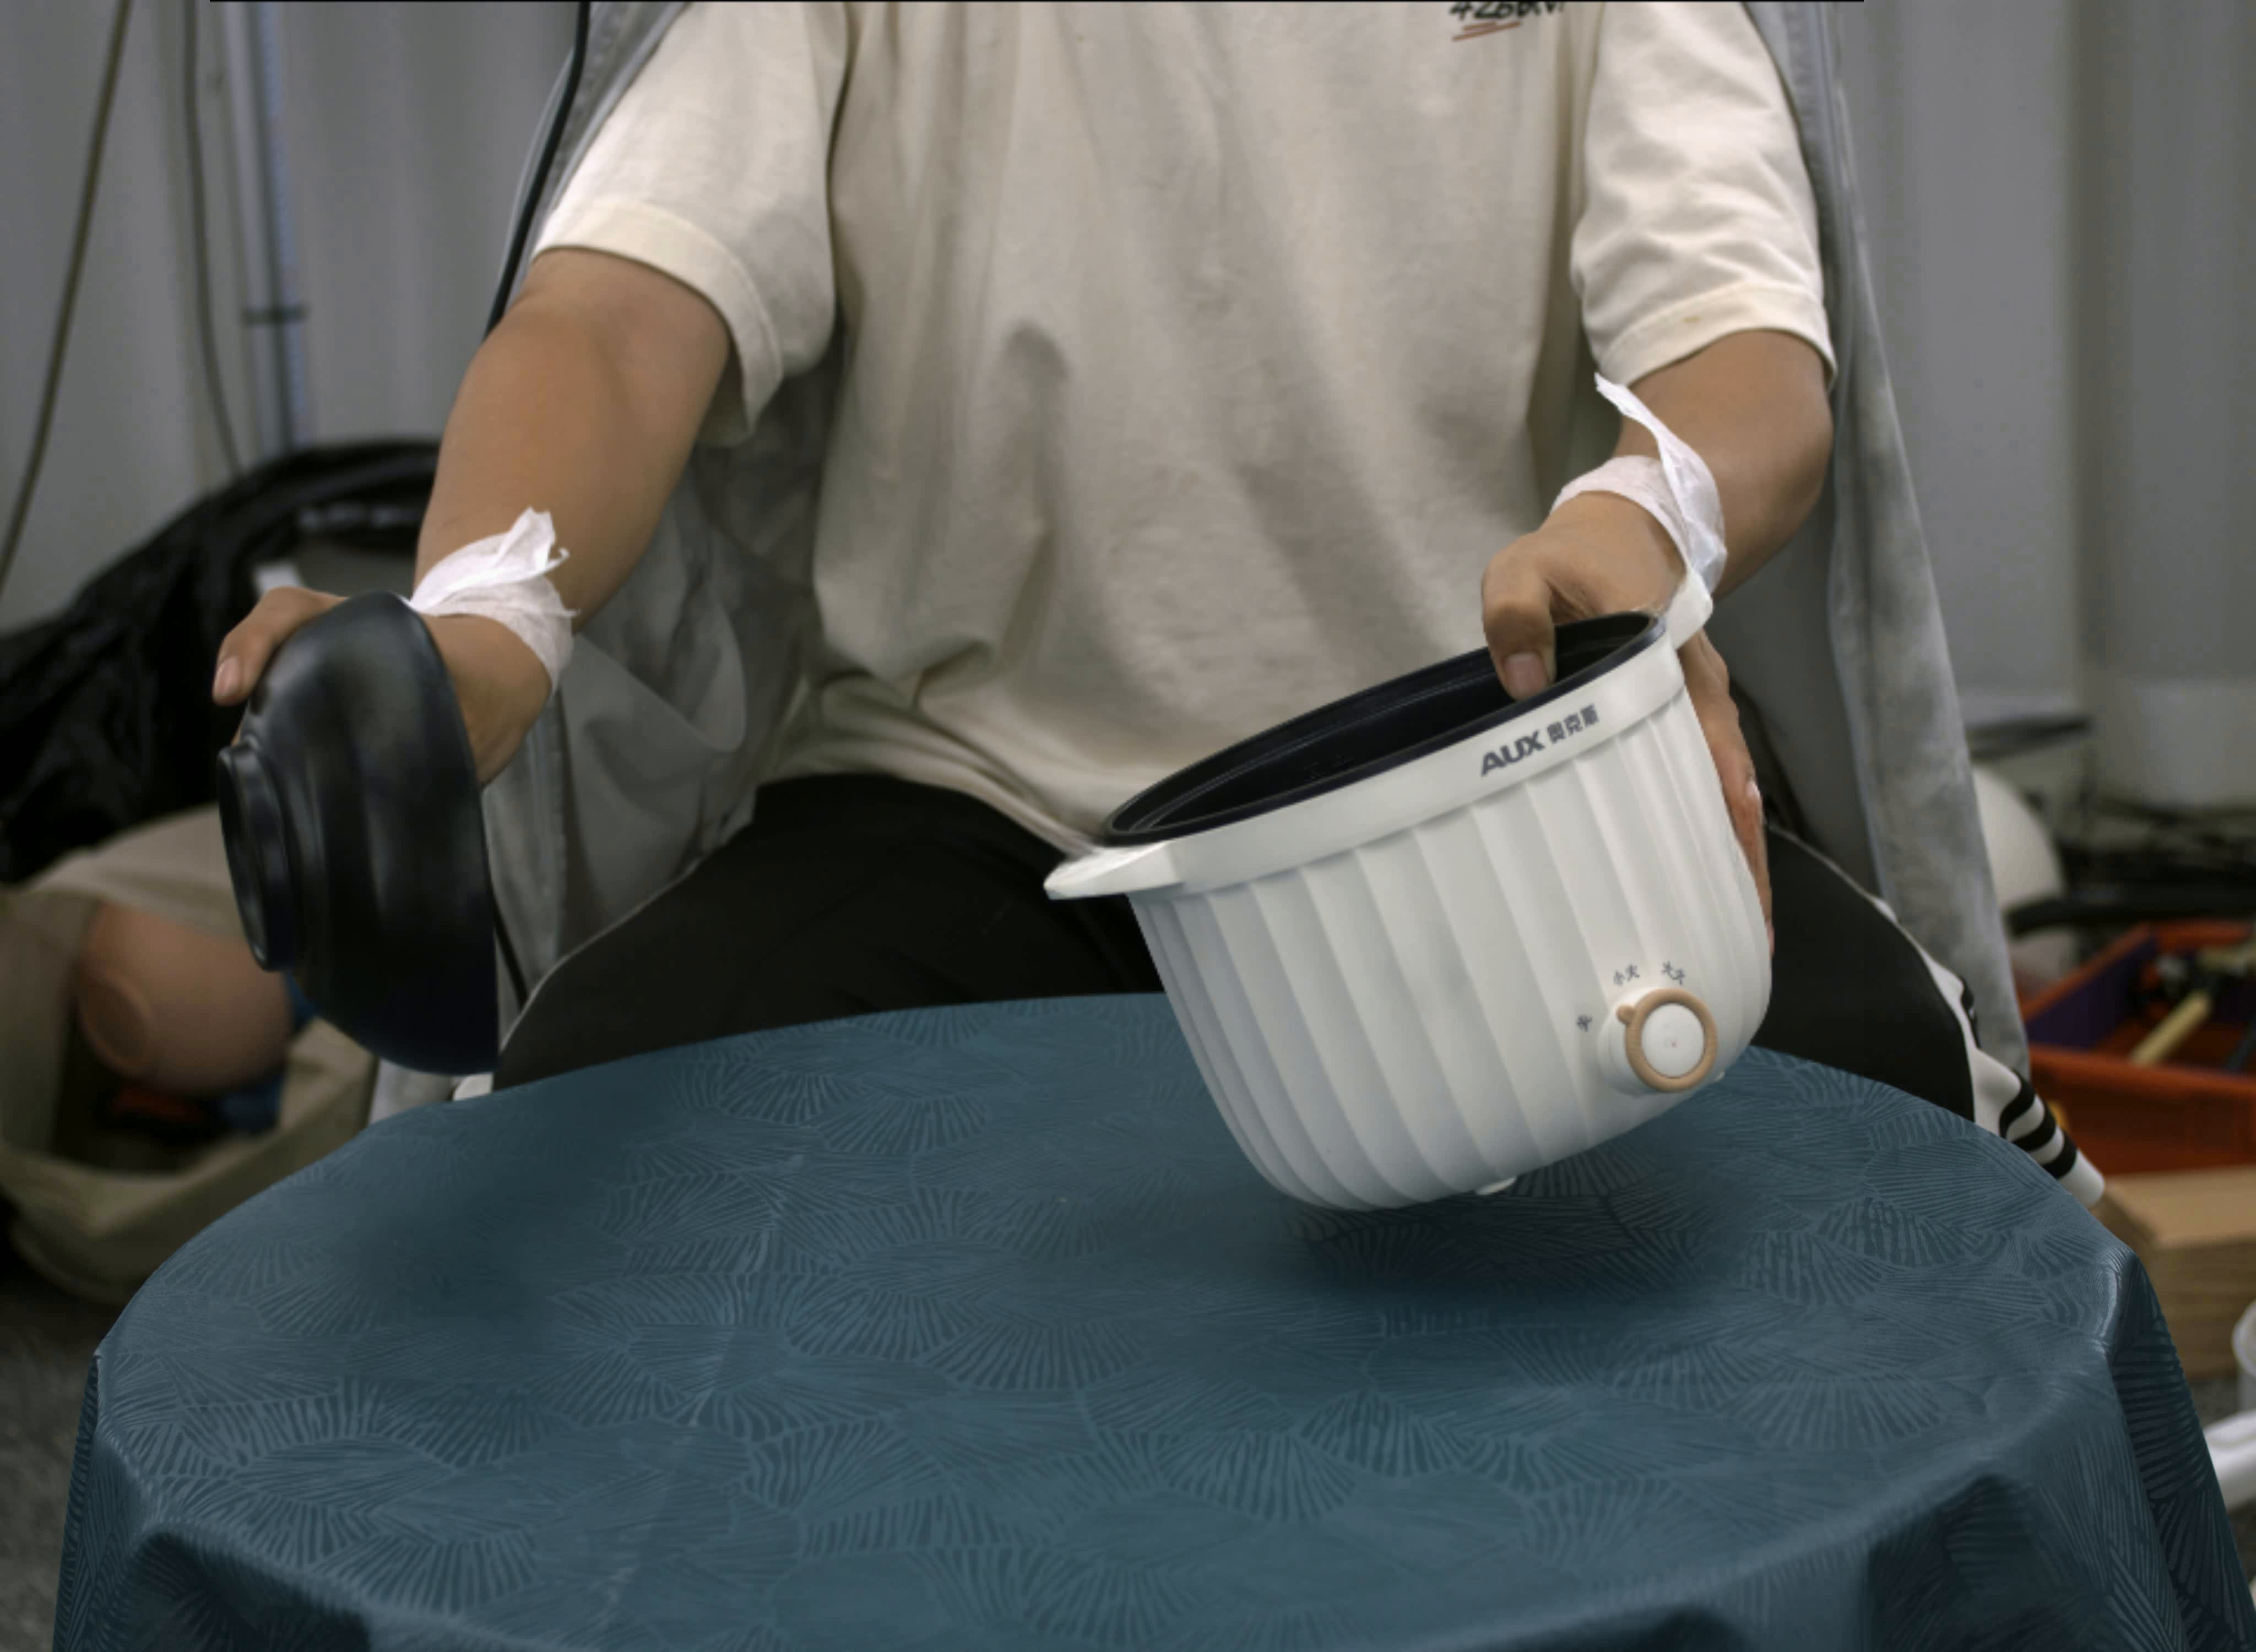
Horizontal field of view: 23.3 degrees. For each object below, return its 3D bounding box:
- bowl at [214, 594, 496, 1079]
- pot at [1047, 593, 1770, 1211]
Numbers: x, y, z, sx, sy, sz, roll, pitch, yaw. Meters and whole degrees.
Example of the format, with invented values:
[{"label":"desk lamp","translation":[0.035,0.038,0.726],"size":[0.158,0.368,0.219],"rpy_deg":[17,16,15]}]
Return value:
[{"label":"bowl","translation":[-0.236,0.005,1.648],"size":[0.066,0.136,0.173],"rpy_deg":[-9,42,-18]},{"label":"pot","translation":[0.103,0.029,1.648],"size":[0.240,0.142,0.190],"rpy_deg":[-25,4,-25]}]
